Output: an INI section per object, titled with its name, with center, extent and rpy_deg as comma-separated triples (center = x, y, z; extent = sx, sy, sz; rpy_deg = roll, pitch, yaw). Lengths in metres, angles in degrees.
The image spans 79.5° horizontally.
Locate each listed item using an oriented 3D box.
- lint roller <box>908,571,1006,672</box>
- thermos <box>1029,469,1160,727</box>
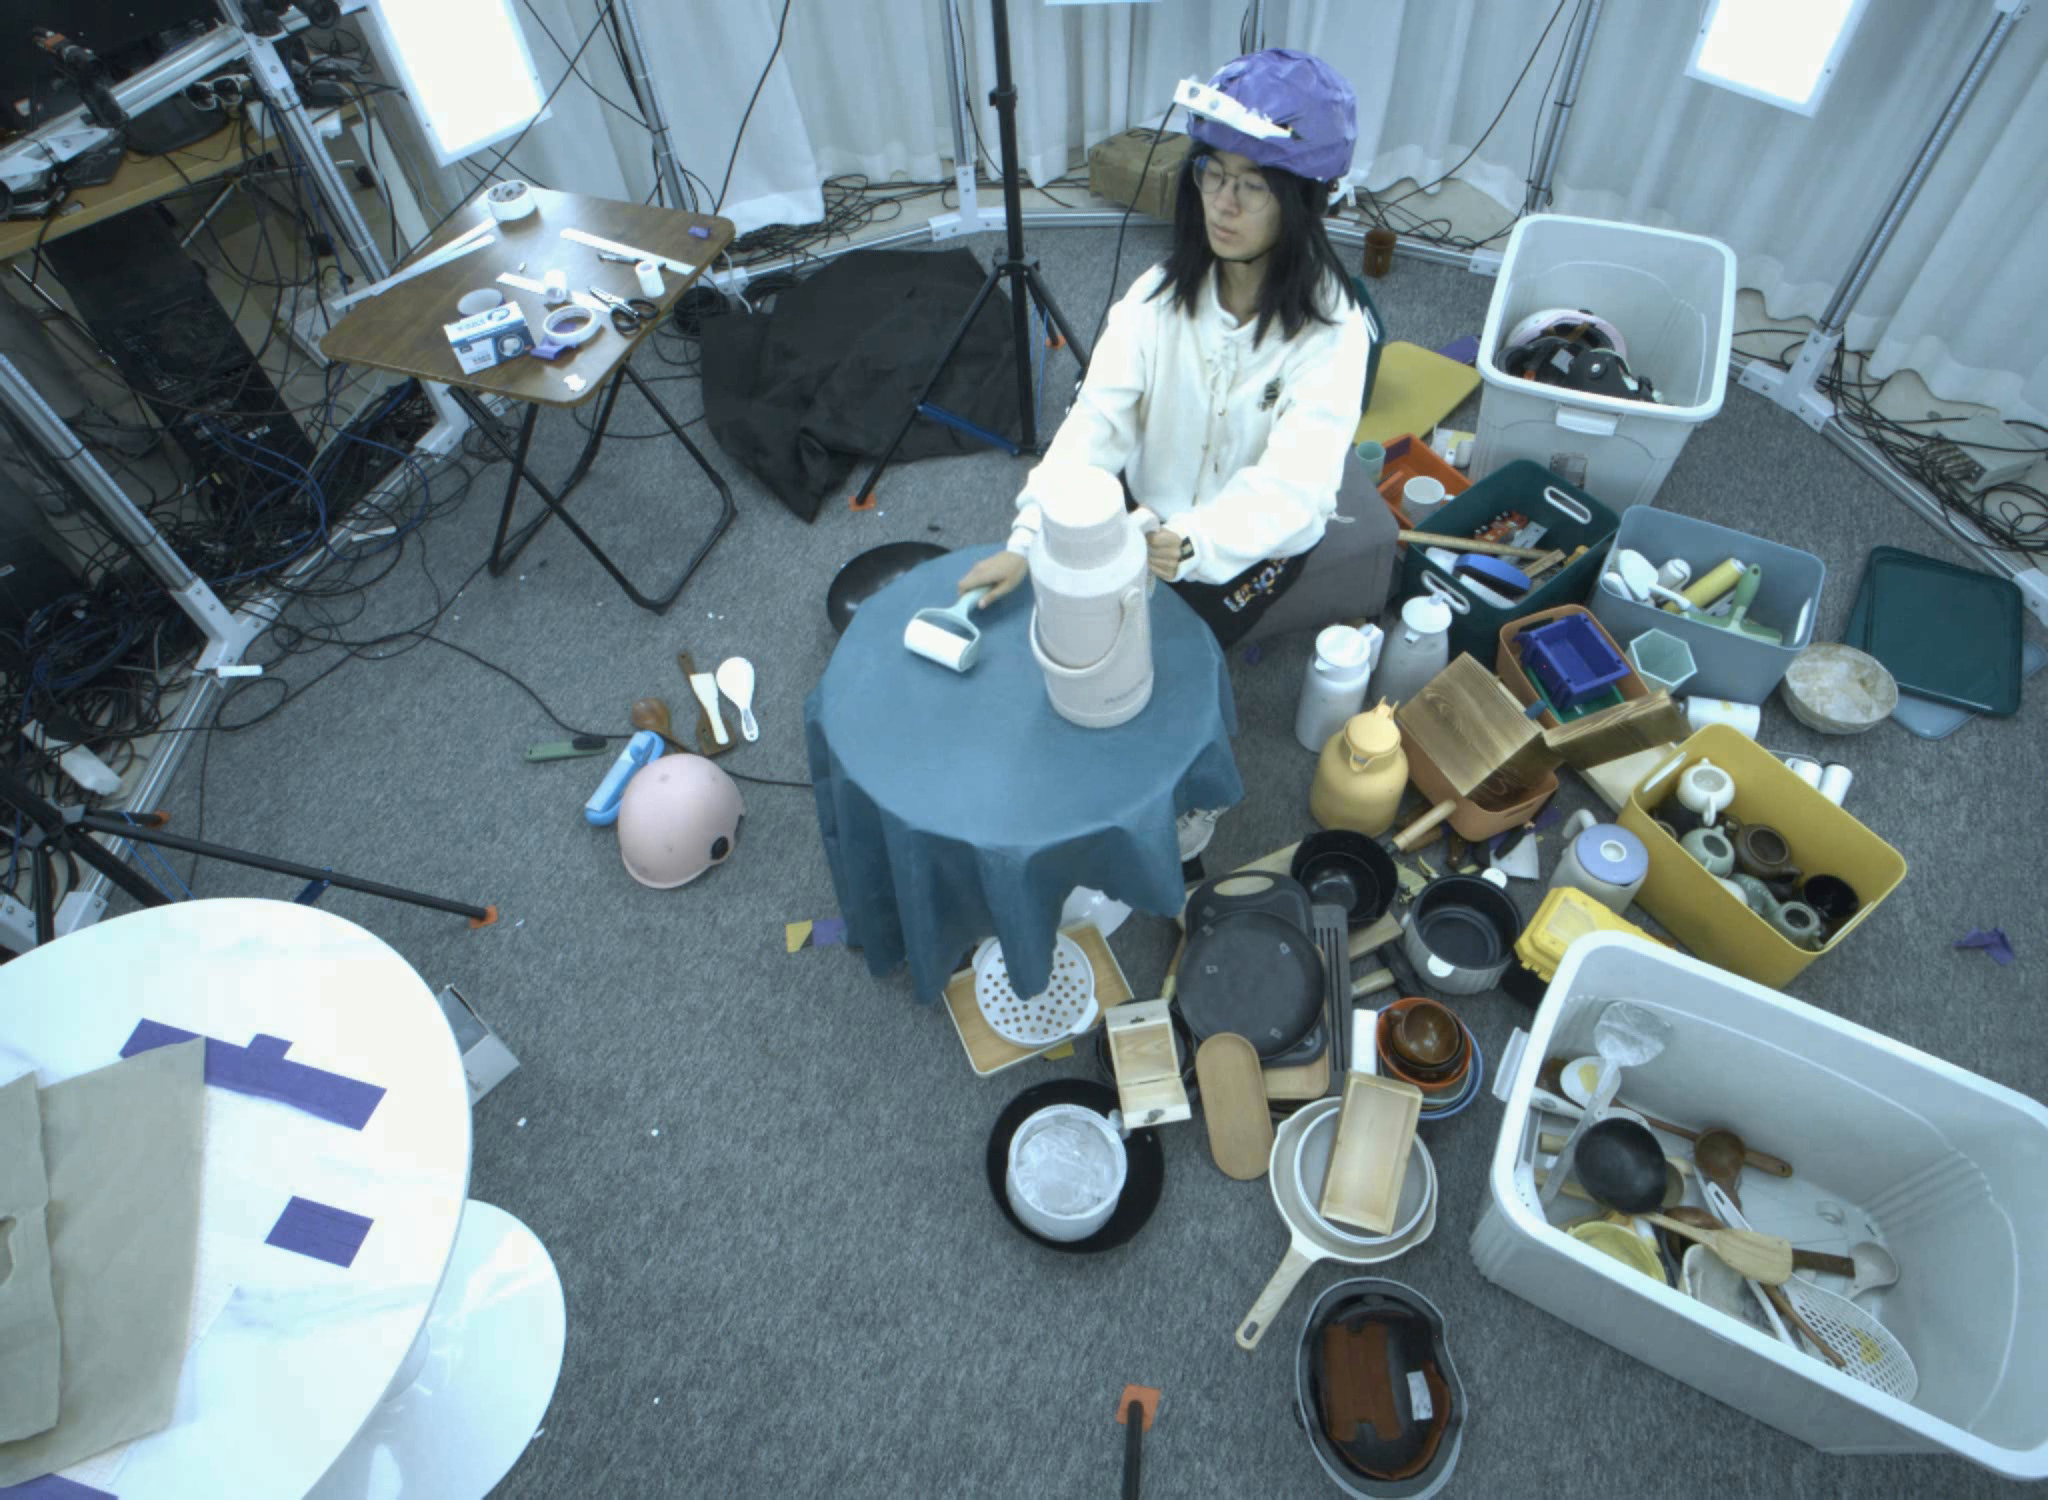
[lint roller]
center = -0.084, -0.213, 1.903
extent = 0.115, 0.049, 0.198
rpy_deg = 25, 65, 21
[thermos]
center = 0.104, -0.211, 1.682
extent = 0.208, 0.411, 0.172
rpy_deg = -38, 62, -17
